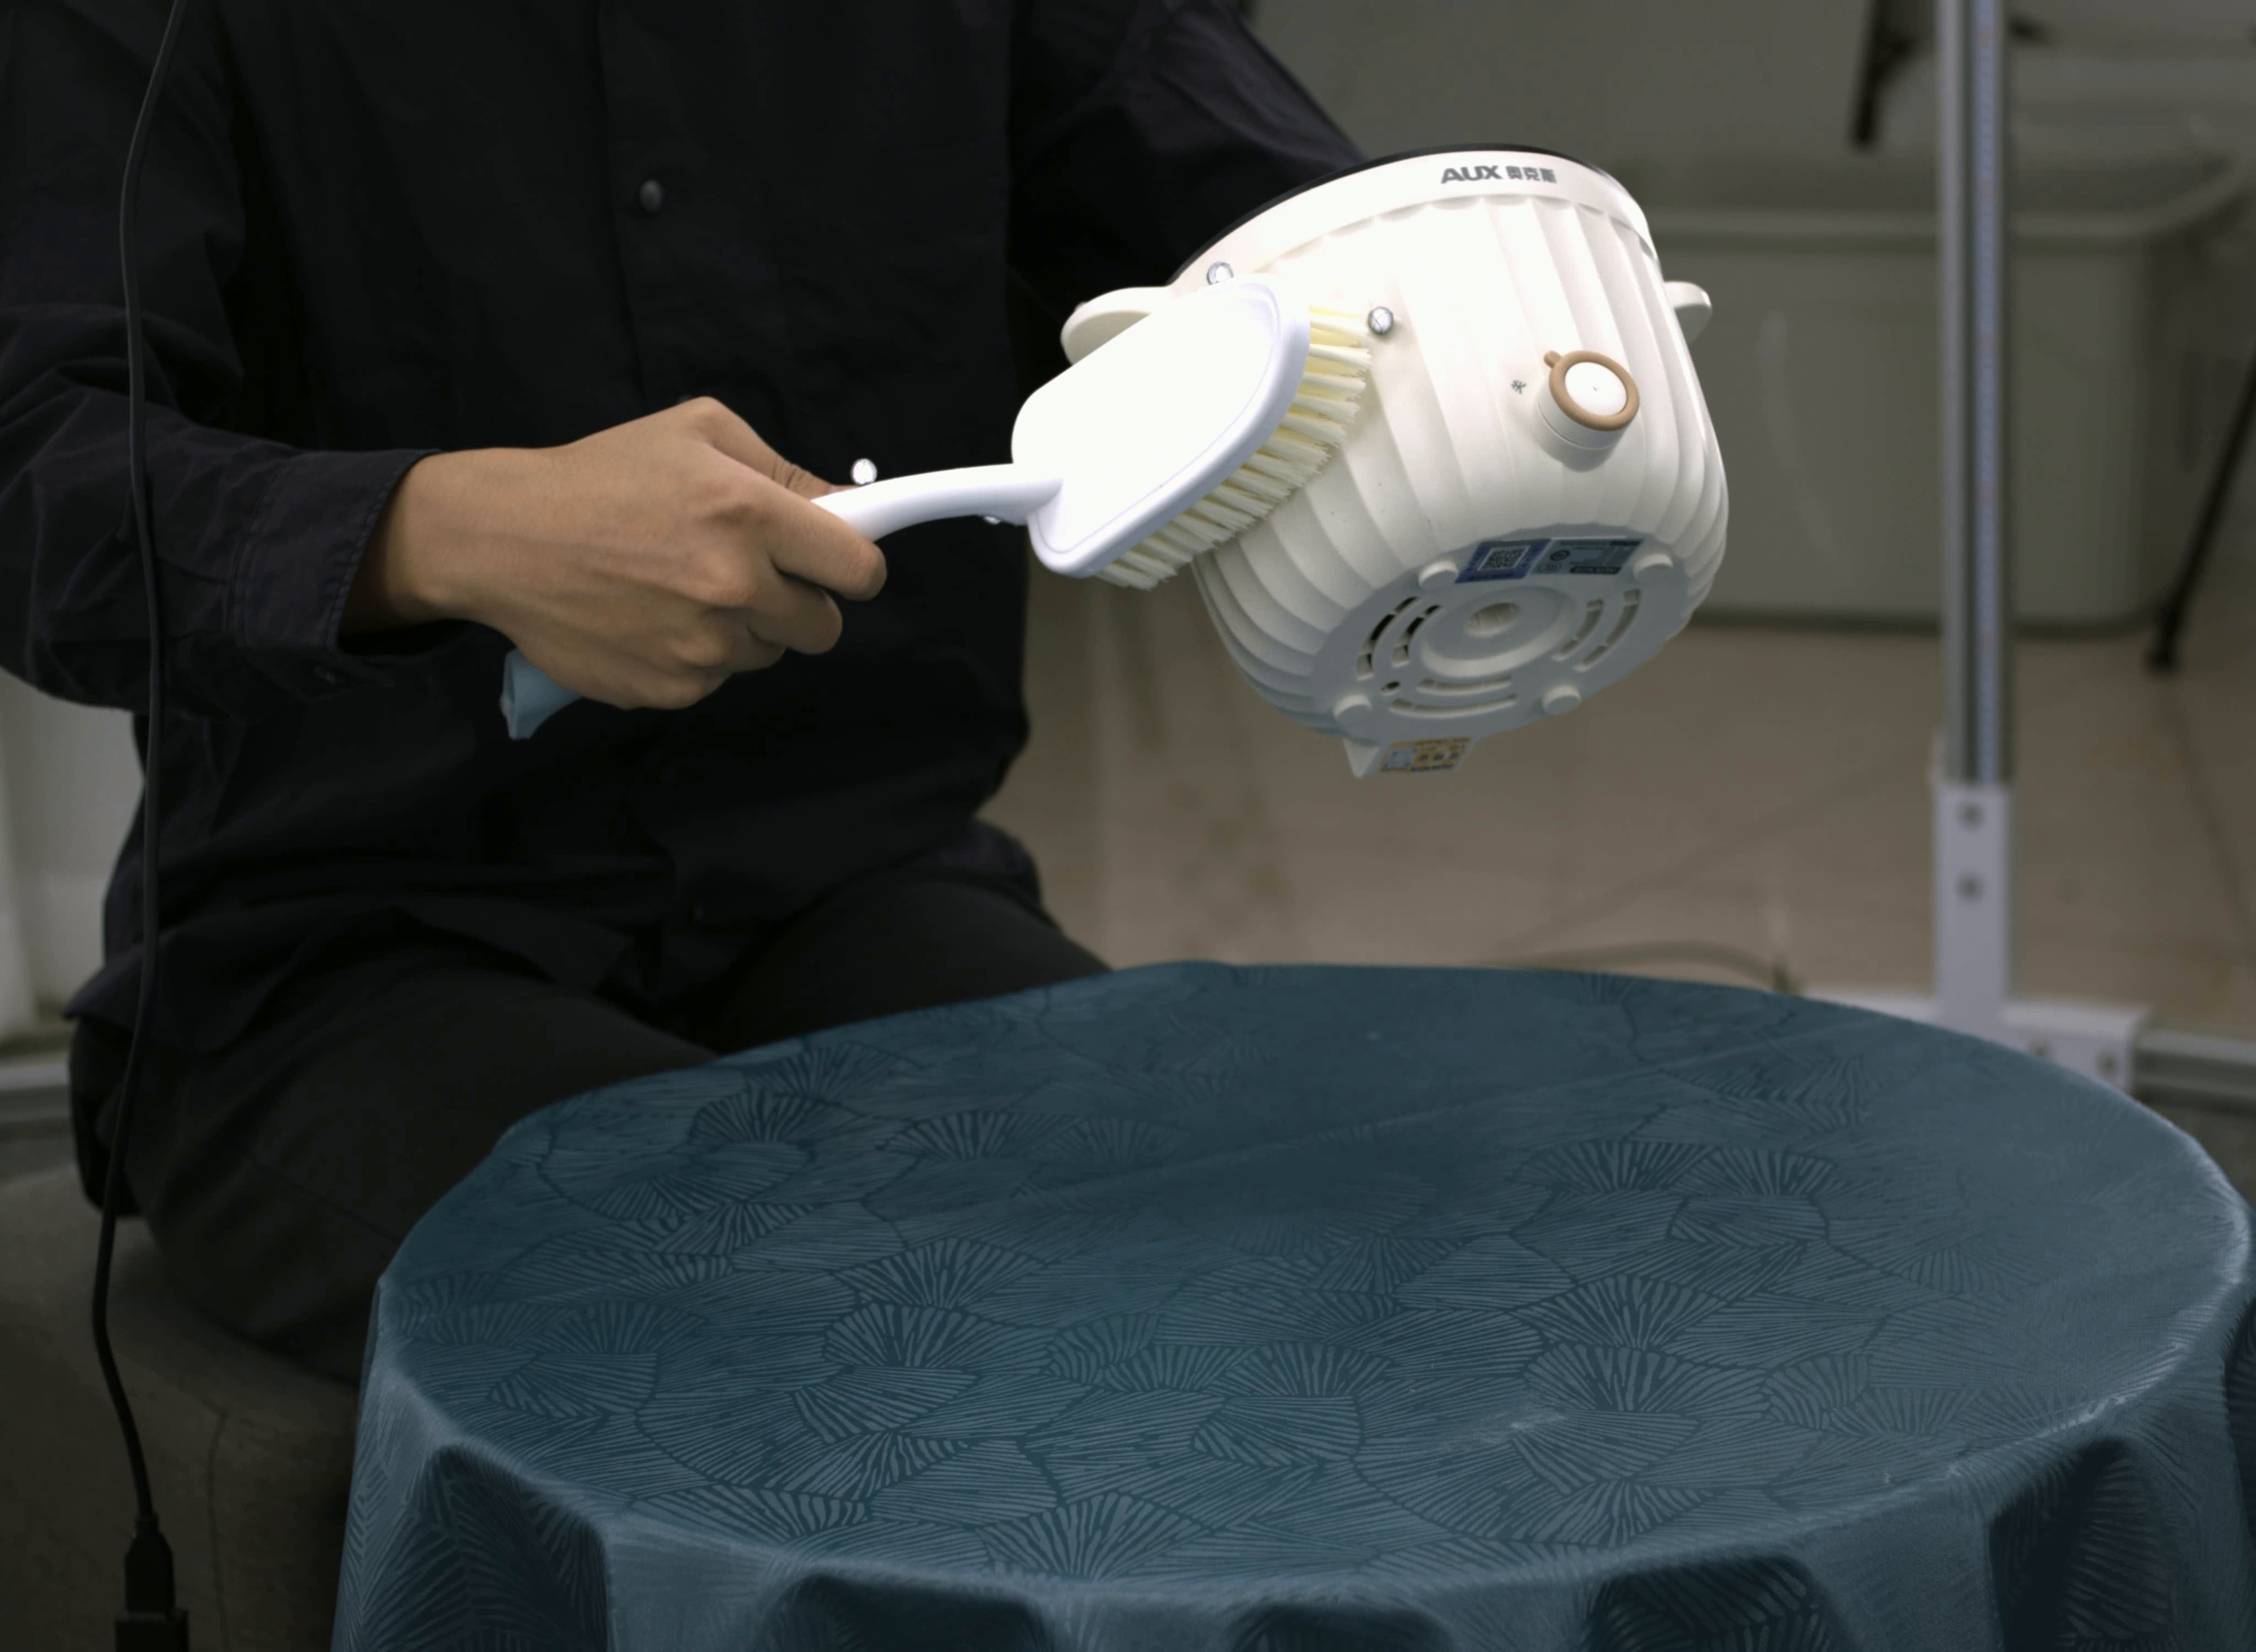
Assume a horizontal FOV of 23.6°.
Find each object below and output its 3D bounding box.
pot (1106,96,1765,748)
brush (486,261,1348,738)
[{"bbox_3d":[0.120,-0.131,1.772,0.235,0.192,0.144,-3,55,-24],"label":"pot"},{"bbox_3d":[-0.065,-0.097,1.751,0.326,0.084,0.083,-26,27,24],"label":"brush"}]
